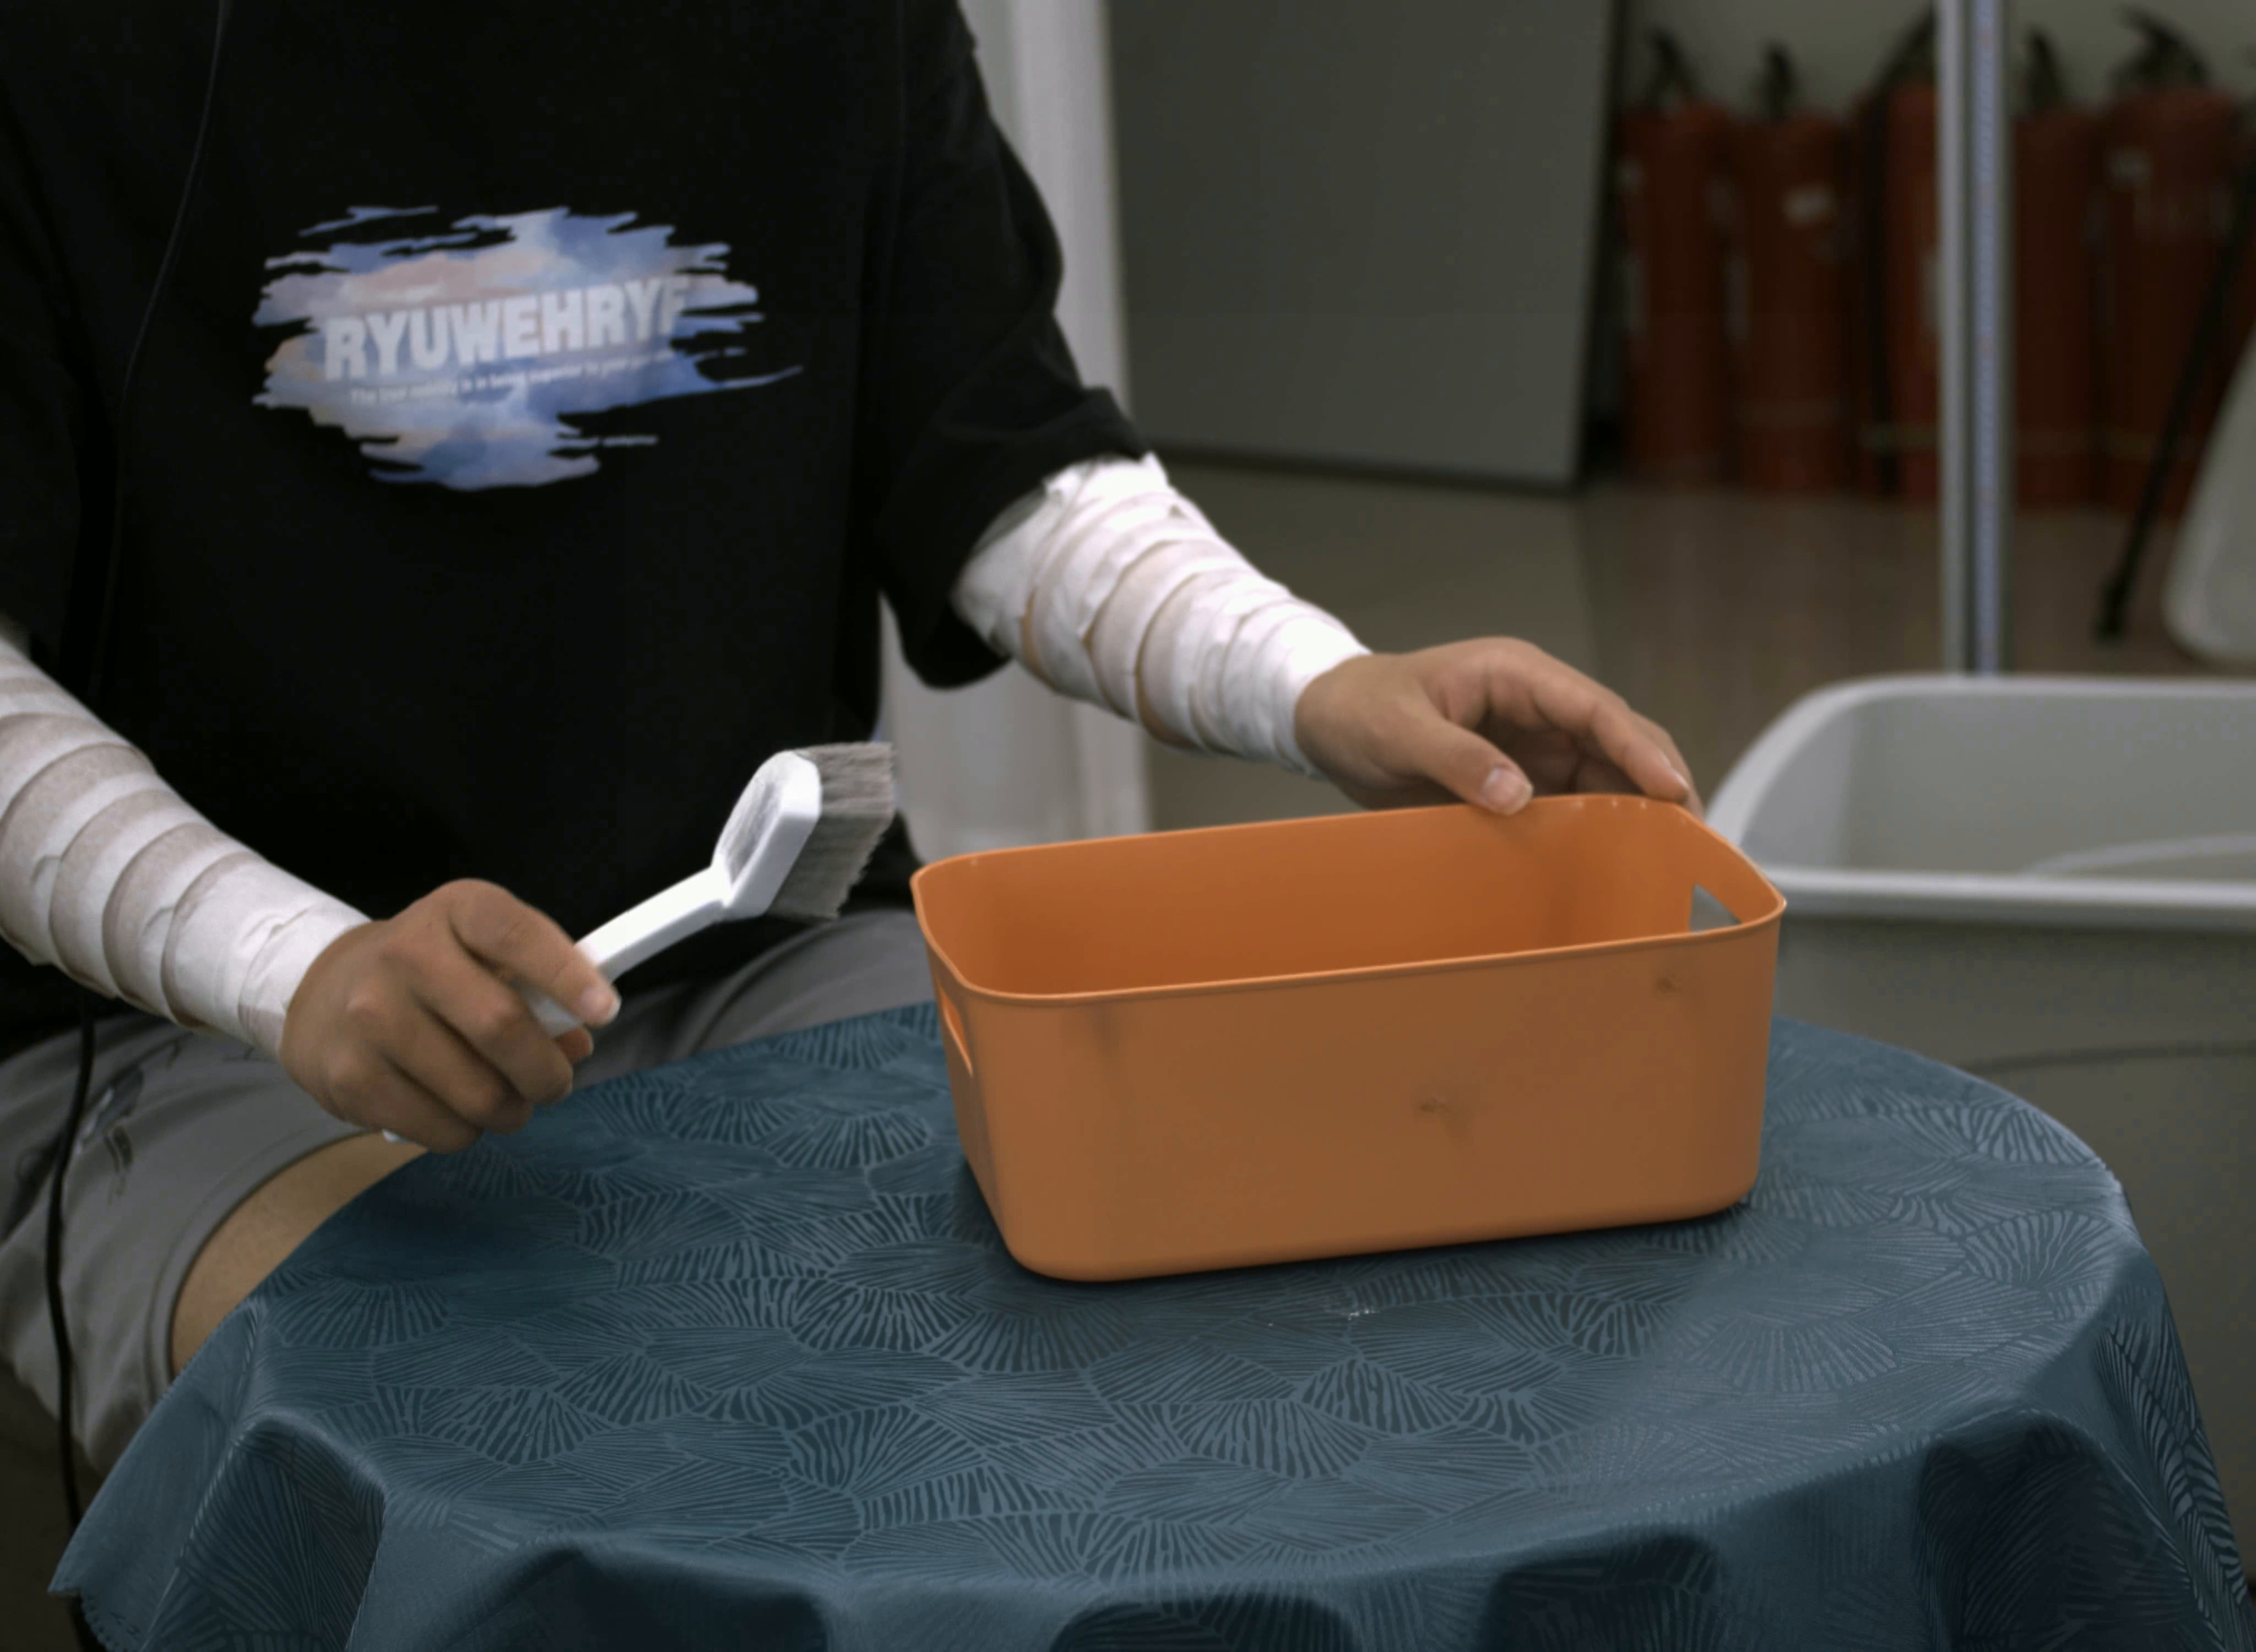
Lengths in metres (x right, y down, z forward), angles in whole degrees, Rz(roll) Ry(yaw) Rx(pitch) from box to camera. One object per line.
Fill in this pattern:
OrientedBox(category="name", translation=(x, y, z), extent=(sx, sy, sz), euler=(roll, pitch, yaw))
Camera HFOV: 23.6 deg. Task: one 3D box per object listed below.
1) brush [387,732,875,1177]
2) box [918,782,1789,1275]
OrientedBox(category="brush", translation=(-0.156, 0.048, 1.716), extent=(0.049, 0.035, 0.246), euler=(19, -45, -32))
OrientedBox(category="box", translation=(0.071, 0.064, 1.756), extent=(0.268, 0.104, 0.200), euler=(-5, 14, -7))
